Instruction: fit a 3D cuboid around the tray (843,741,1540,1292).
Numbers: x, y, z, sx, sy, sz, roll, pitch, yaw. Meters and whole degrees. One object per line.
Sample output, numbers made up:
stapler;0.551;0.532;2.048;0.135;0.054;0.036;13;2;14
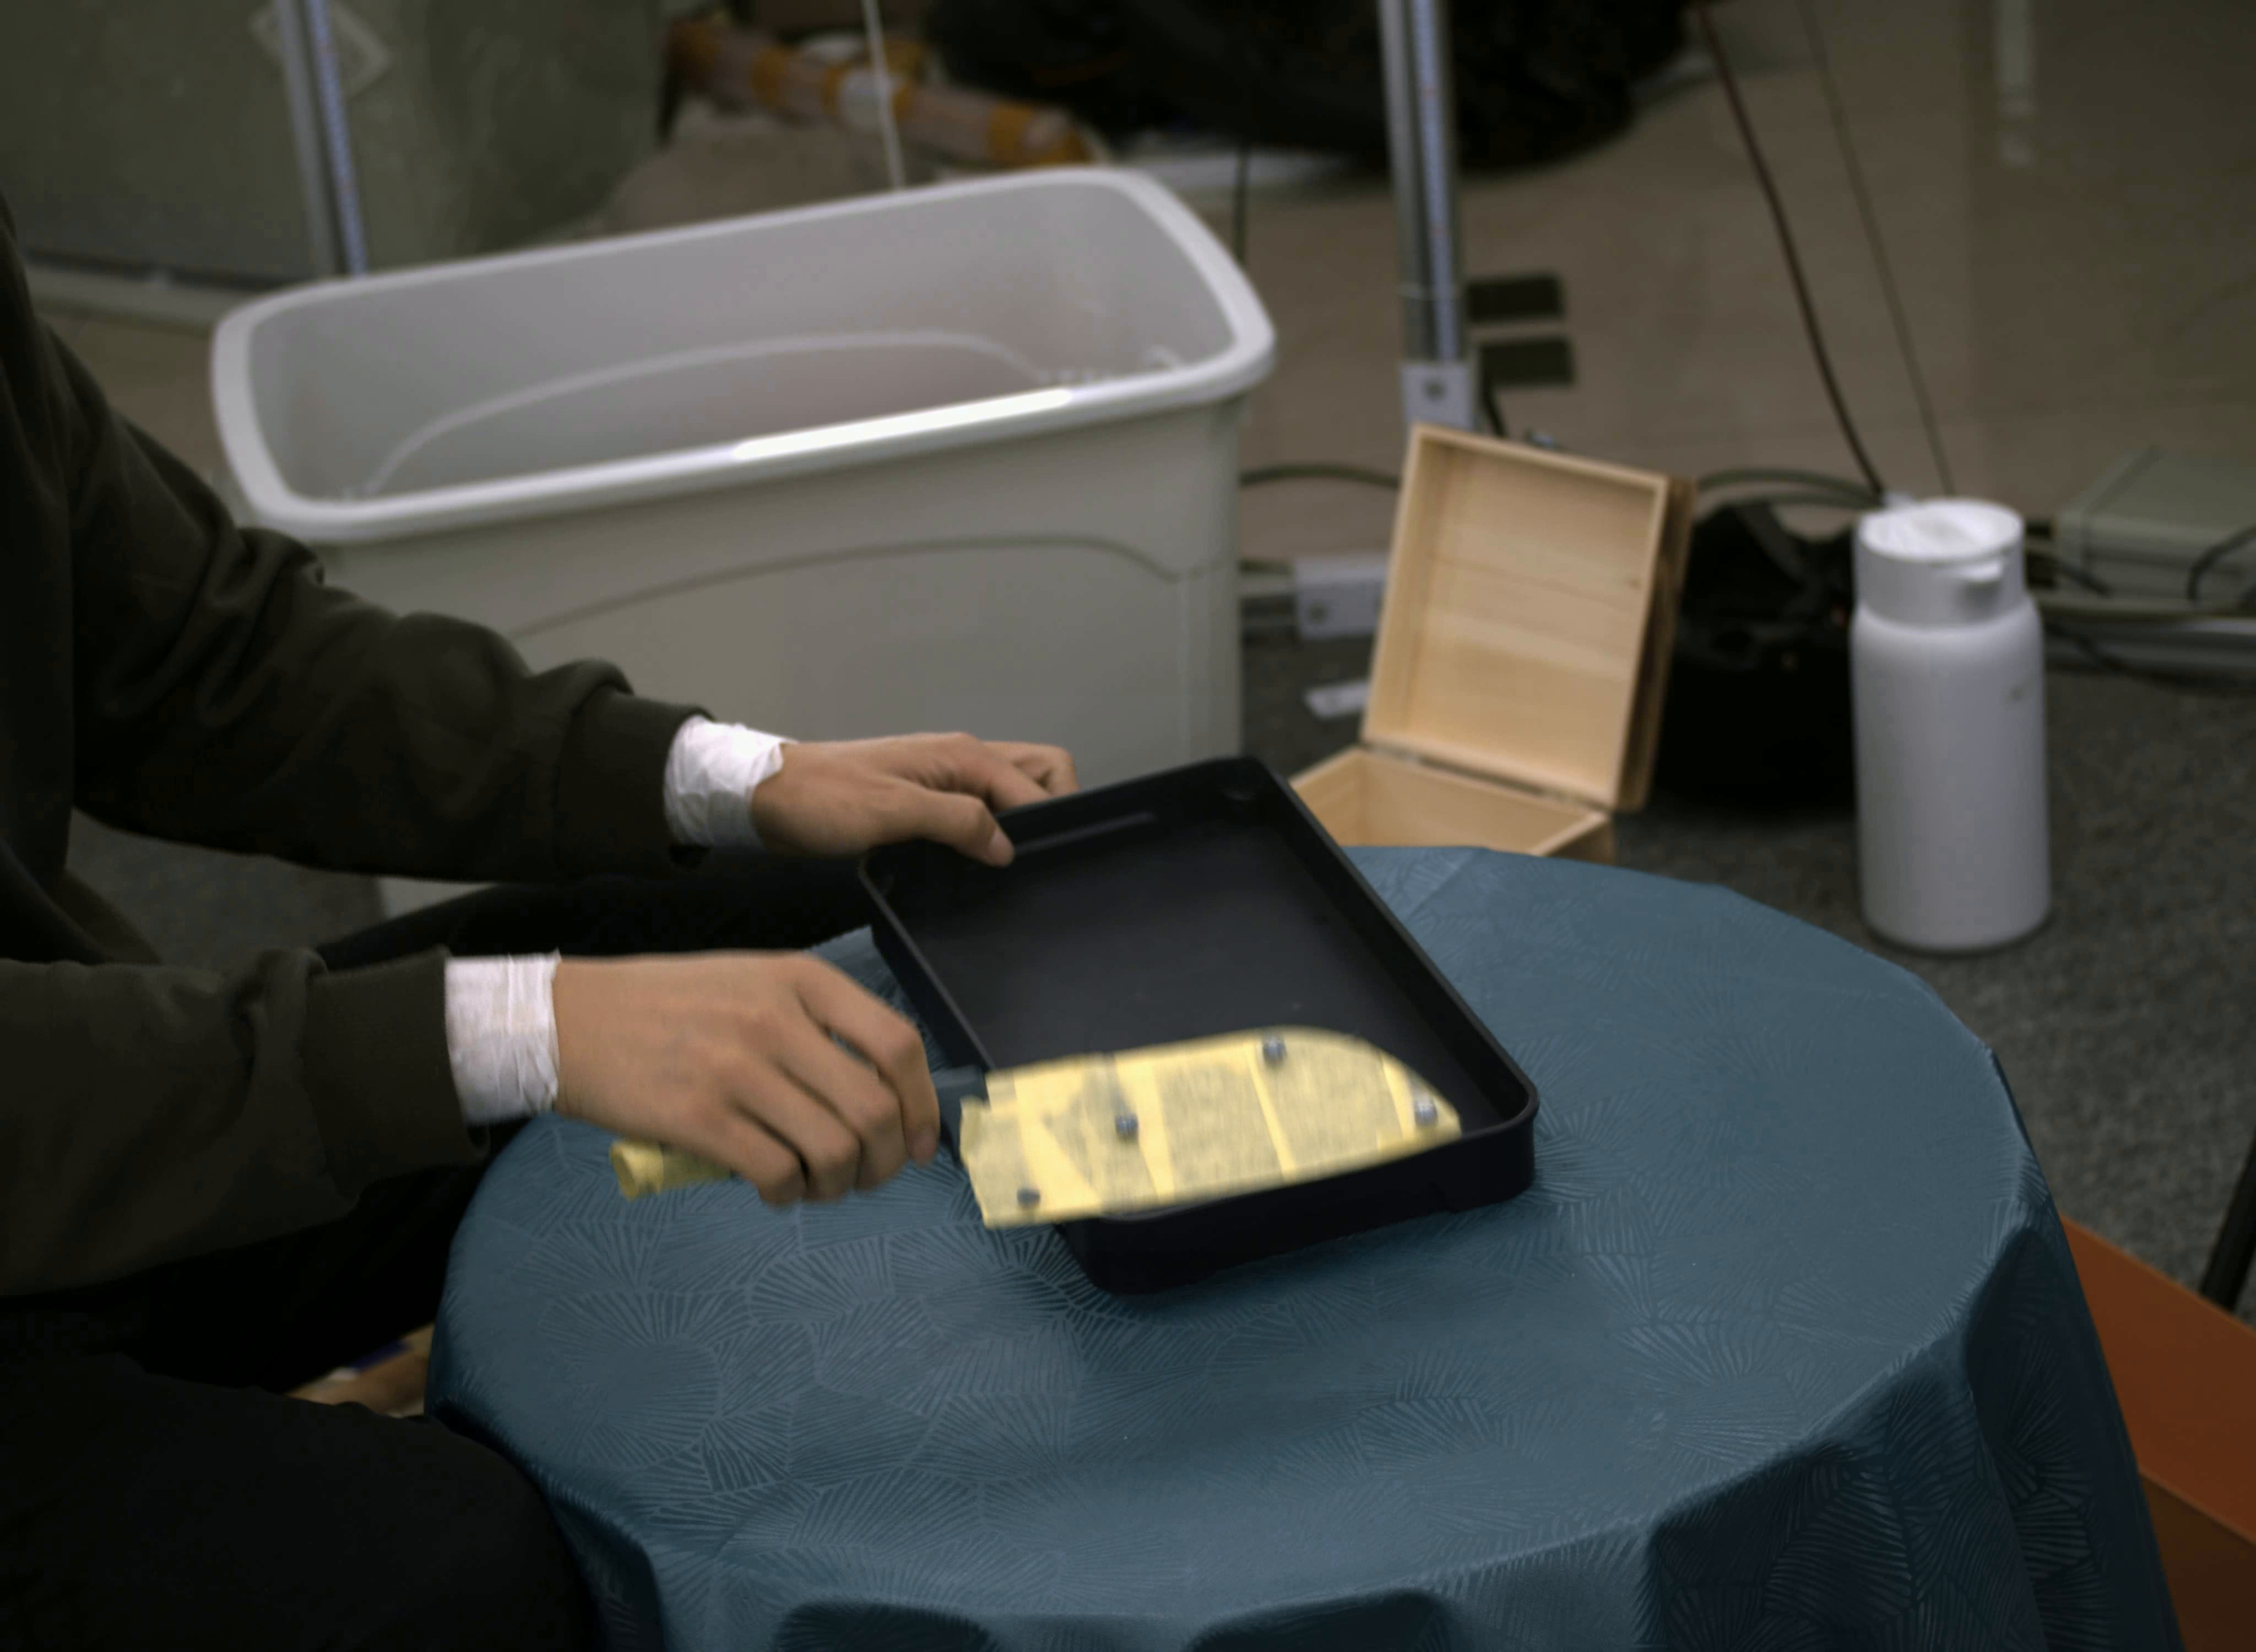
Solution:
tray;0.020;0.069;2.220;0.183;0.038;0.313;-16;32;-15

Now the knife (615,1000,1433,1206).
knife;-0.035;0.103;1.983;0.289;0.028;0.079;-9;41;-5
